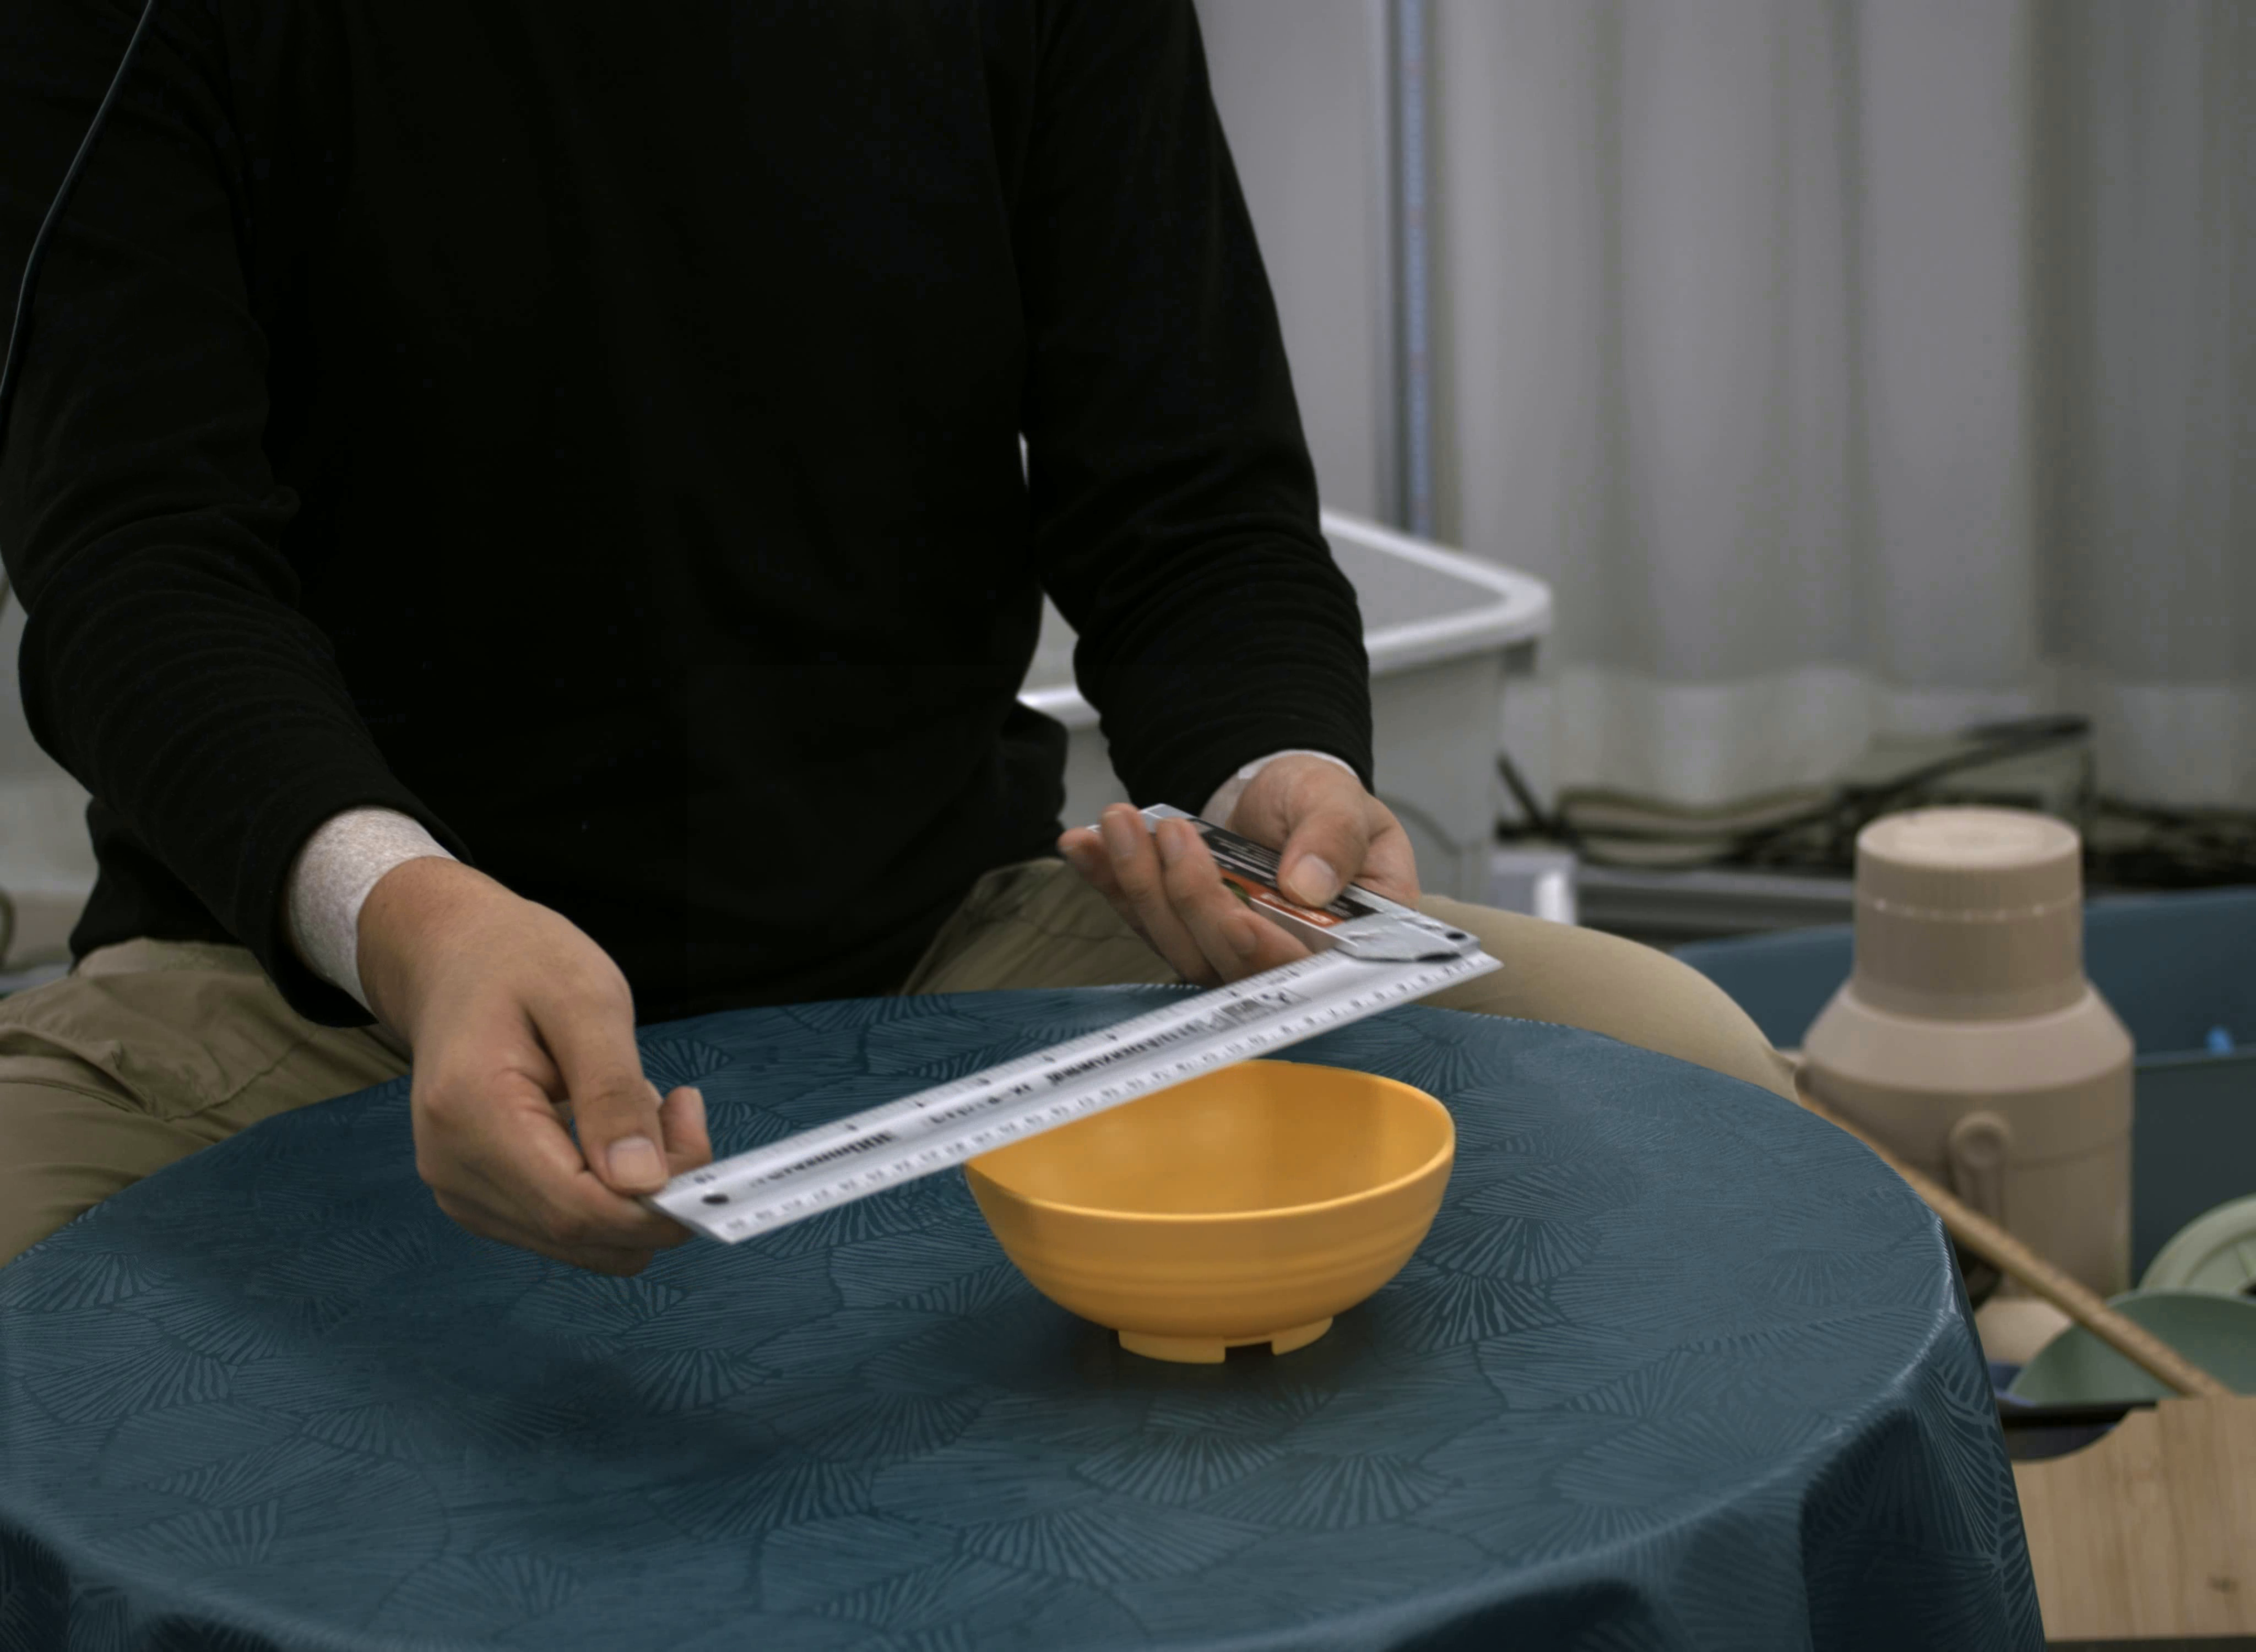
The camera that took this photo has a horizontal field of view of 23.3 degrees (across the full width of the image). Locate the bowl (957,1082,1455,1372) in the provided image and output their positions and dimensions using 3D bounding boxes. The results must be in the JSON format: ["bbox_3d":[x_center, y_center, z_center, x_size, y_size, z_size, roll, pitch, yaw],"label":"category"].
[{"bbox_3d":[0.023,0.120,1.585,0.145,0.060,0.146,-2,11,0],"label":"bowl"}]

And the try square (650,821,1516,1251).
[{"bbox_3d":[-0.043,0.058,1.614,0.312,0.016,0.153,-17,27,-41],"label":"try square"}]
